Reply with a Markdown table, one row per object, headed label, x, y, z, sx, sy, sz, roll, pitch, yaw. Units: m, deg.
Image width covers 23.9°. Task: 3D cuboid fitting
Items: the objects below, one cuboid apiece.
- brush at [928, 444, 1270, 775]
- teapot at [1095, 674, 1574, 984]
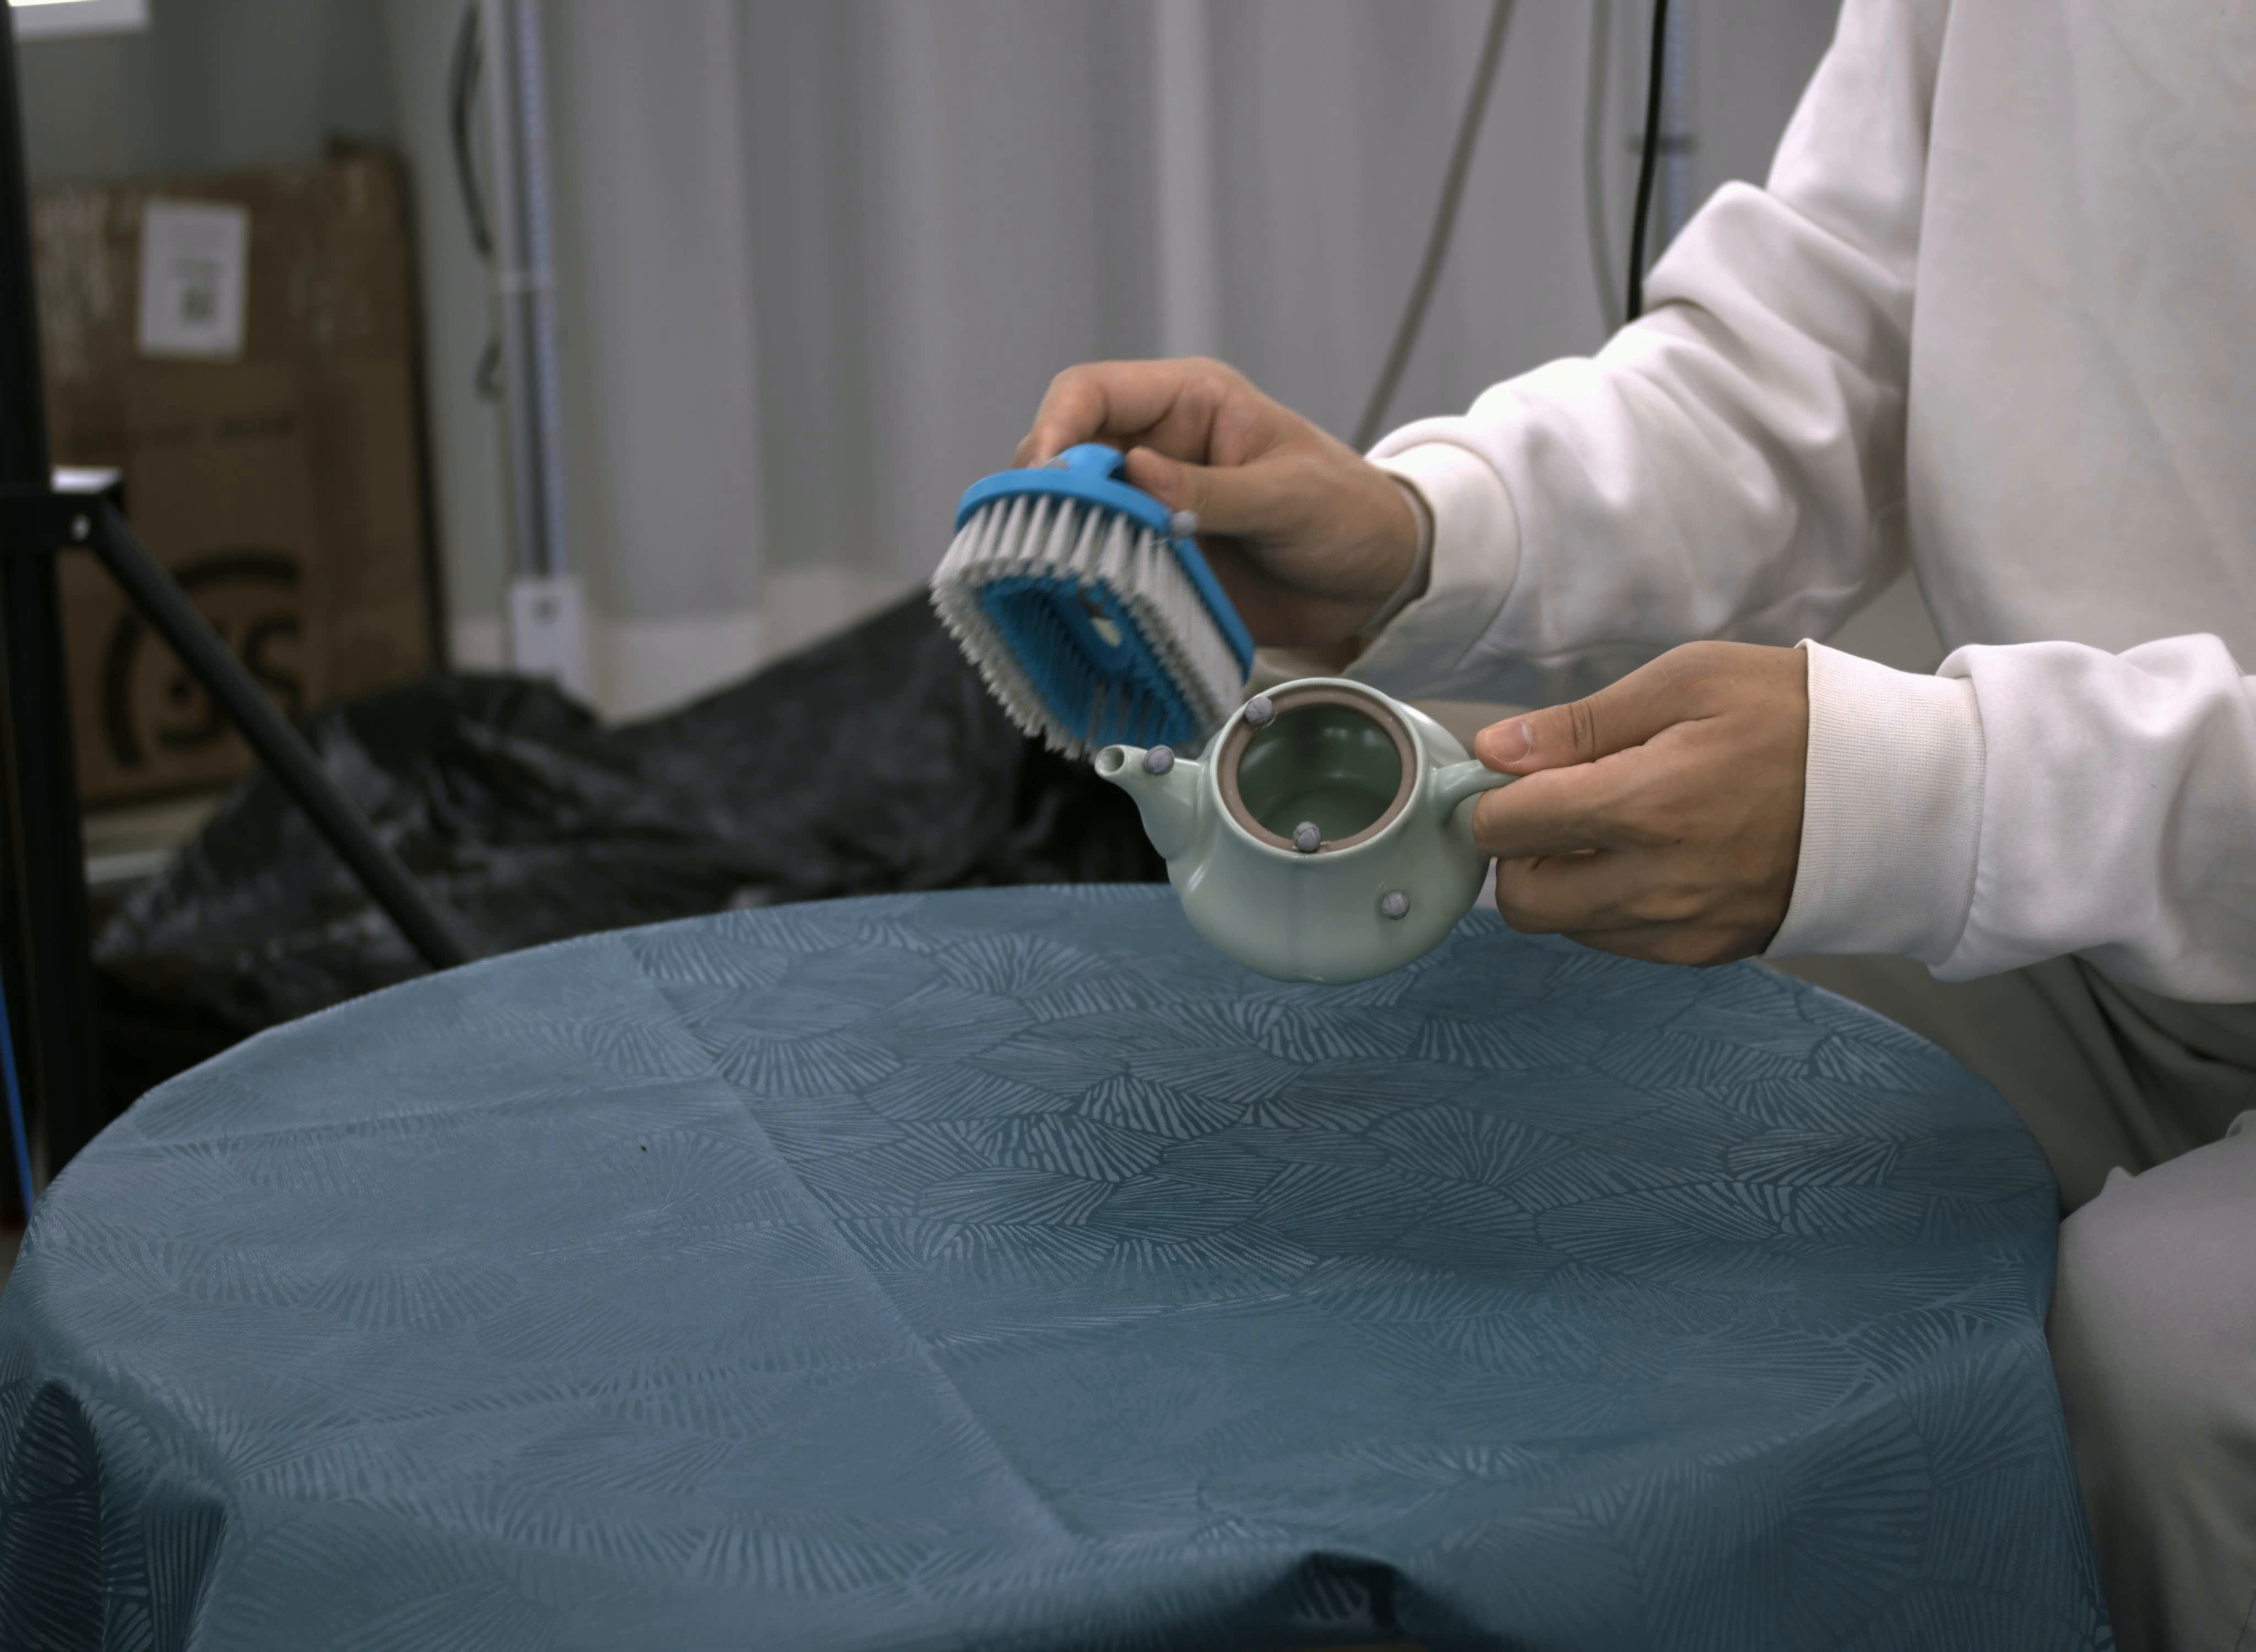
| label | x | y | z | sx | sy | sz | roll | pitch | yaw |
| --- | --- | --- | --- | --- | --- | --- | --- | --- | --- |
| brush | -0.006 | -0.073 | 1.644 | 0.085 | 0.064 | 0.139 | -5 | -31 | 22 |
| teapot | 0.062 | -0.003 | 1.537 | 0.137 | 0.060 | 0.097 | -1 | 56 | 11 |
